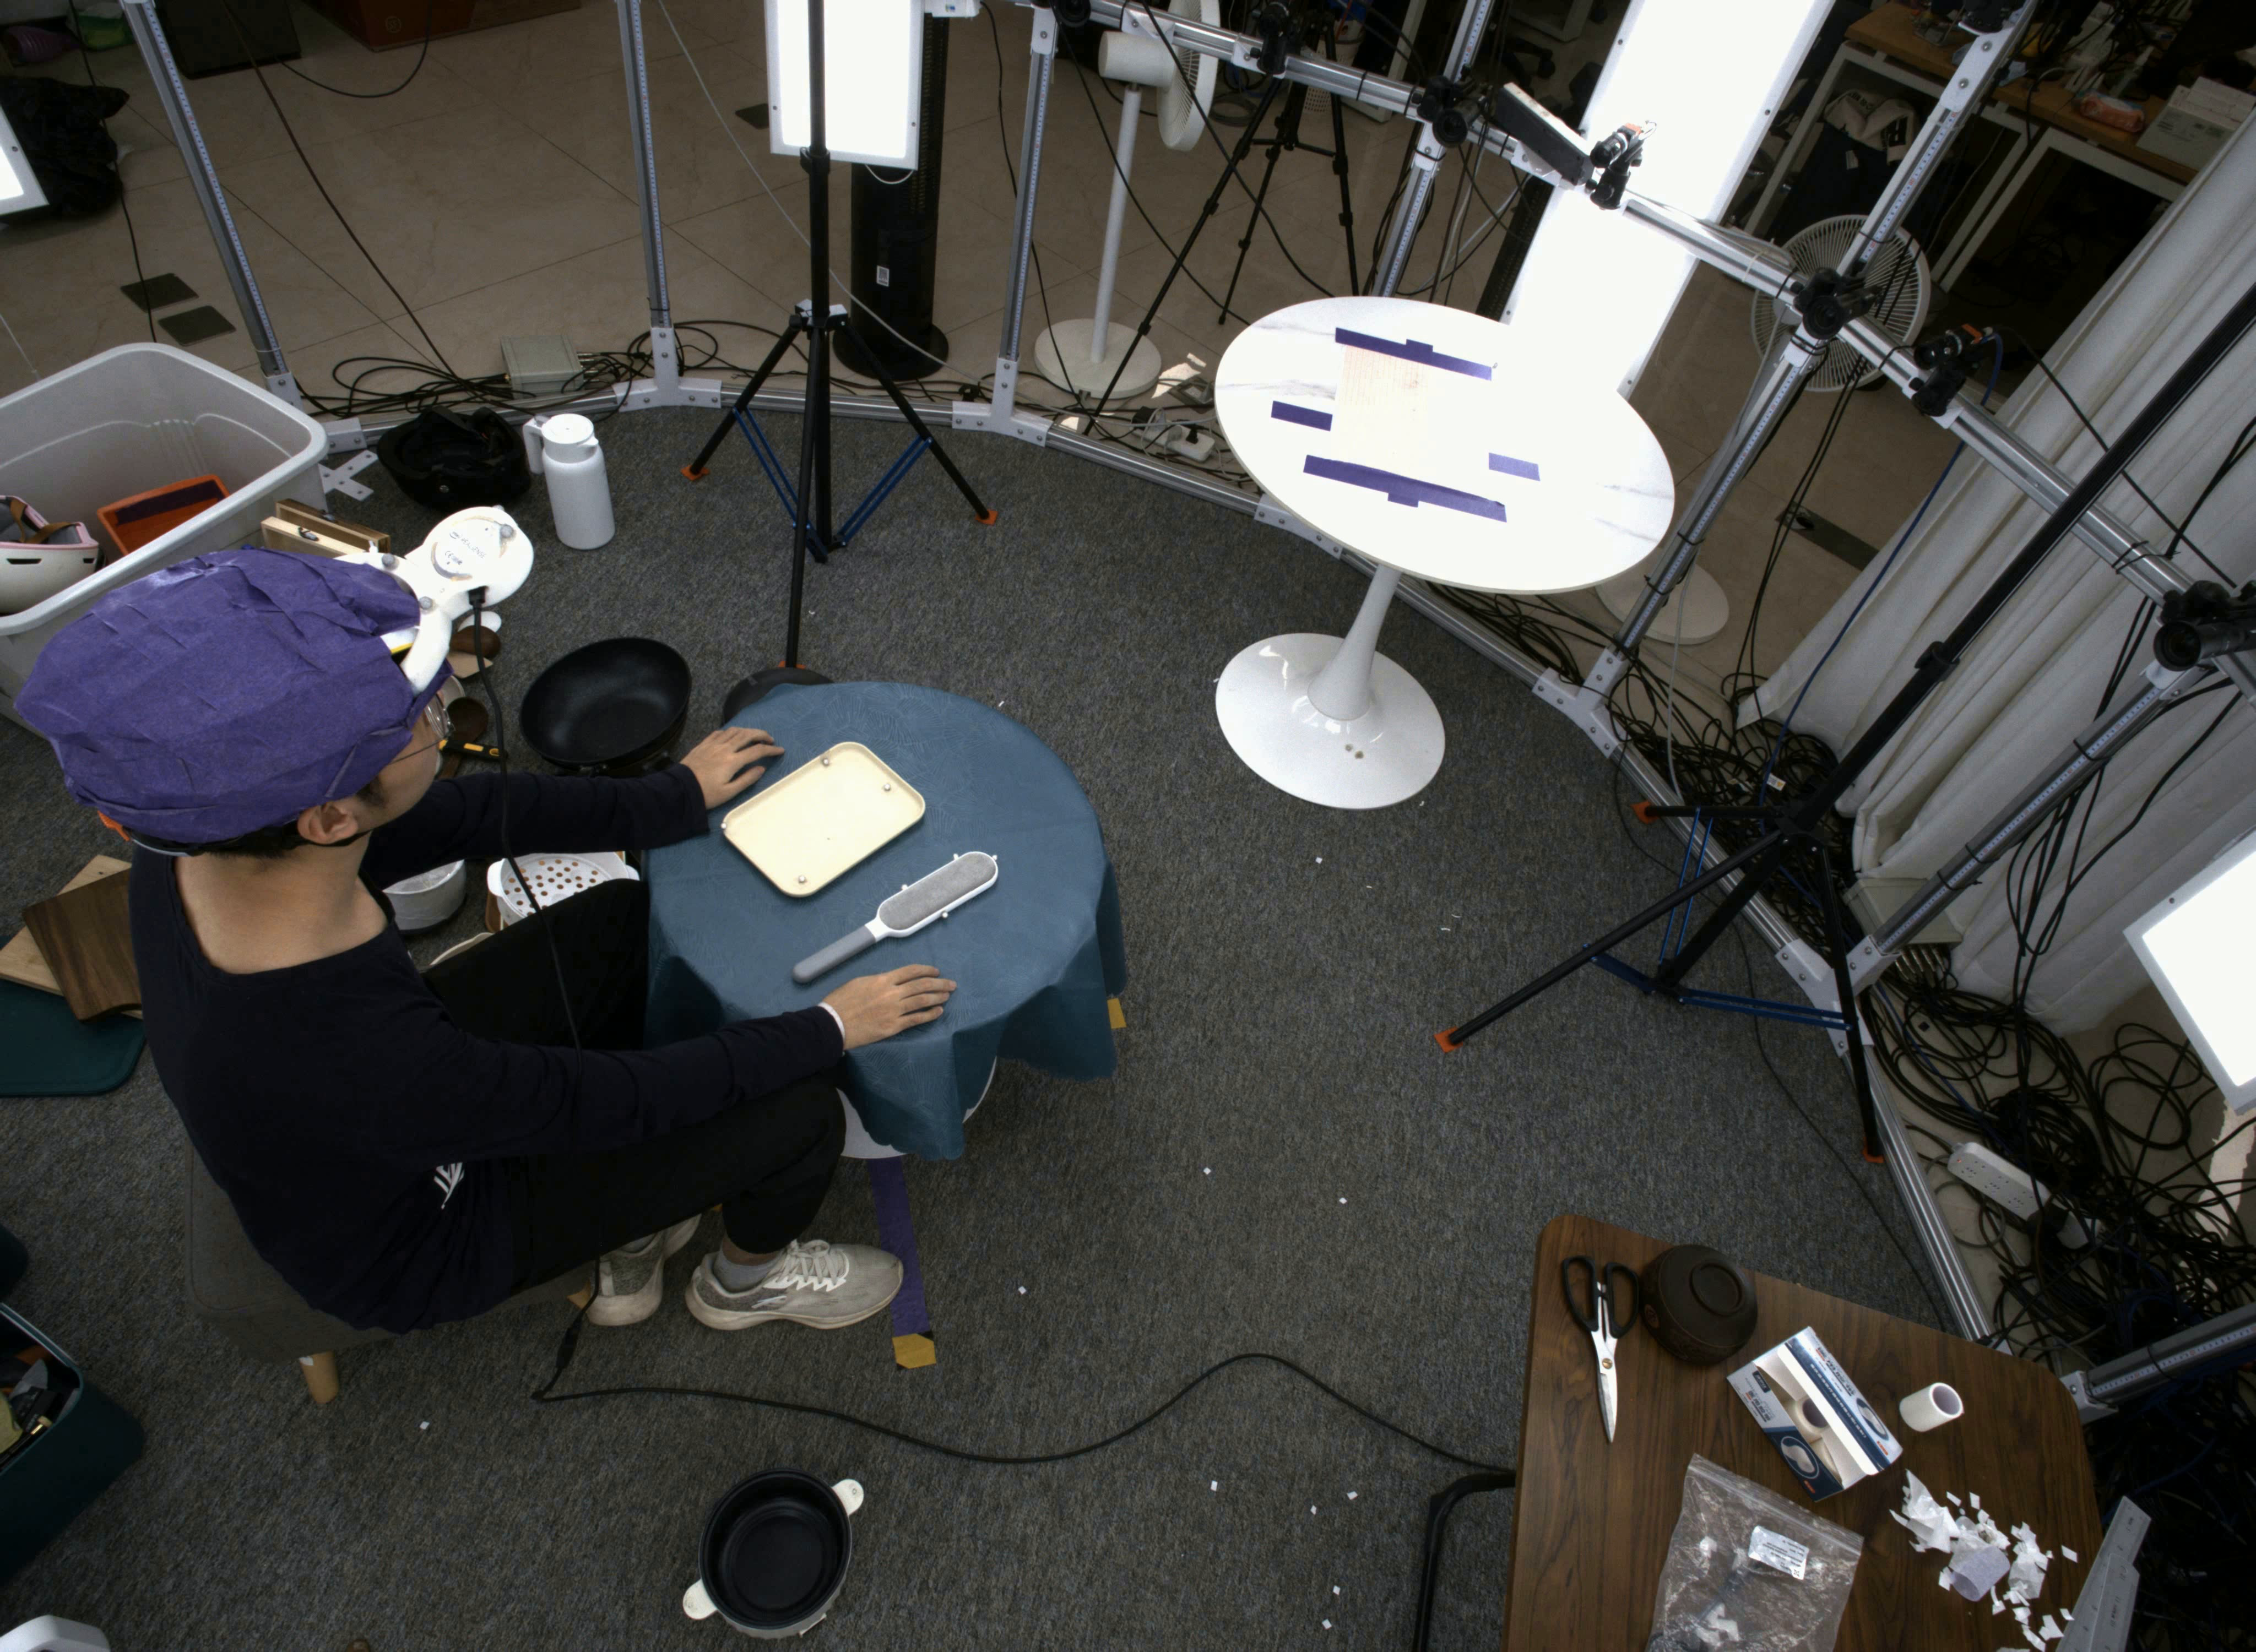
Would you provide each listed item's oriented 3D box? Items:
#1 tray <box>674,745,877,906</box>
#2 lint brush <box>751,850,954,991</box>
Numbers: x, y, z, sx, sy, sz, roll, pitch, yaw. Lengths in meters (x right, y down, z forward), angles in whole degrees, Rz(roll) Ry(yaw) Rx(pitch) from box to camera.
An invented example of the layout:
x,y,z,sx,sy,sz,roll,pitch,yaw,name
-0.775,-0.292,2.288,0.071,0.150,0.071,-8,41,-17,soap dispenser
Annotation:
x,y,z,sx,sy,sz,roll,pitch,yaw,name
-0.464,-0.004,1.716,0.168,0.018,0.240,38,54,13,tray
-0.347,0.116,1.651,0.310,0.021,0.059,-34,74,-32,lint brush
